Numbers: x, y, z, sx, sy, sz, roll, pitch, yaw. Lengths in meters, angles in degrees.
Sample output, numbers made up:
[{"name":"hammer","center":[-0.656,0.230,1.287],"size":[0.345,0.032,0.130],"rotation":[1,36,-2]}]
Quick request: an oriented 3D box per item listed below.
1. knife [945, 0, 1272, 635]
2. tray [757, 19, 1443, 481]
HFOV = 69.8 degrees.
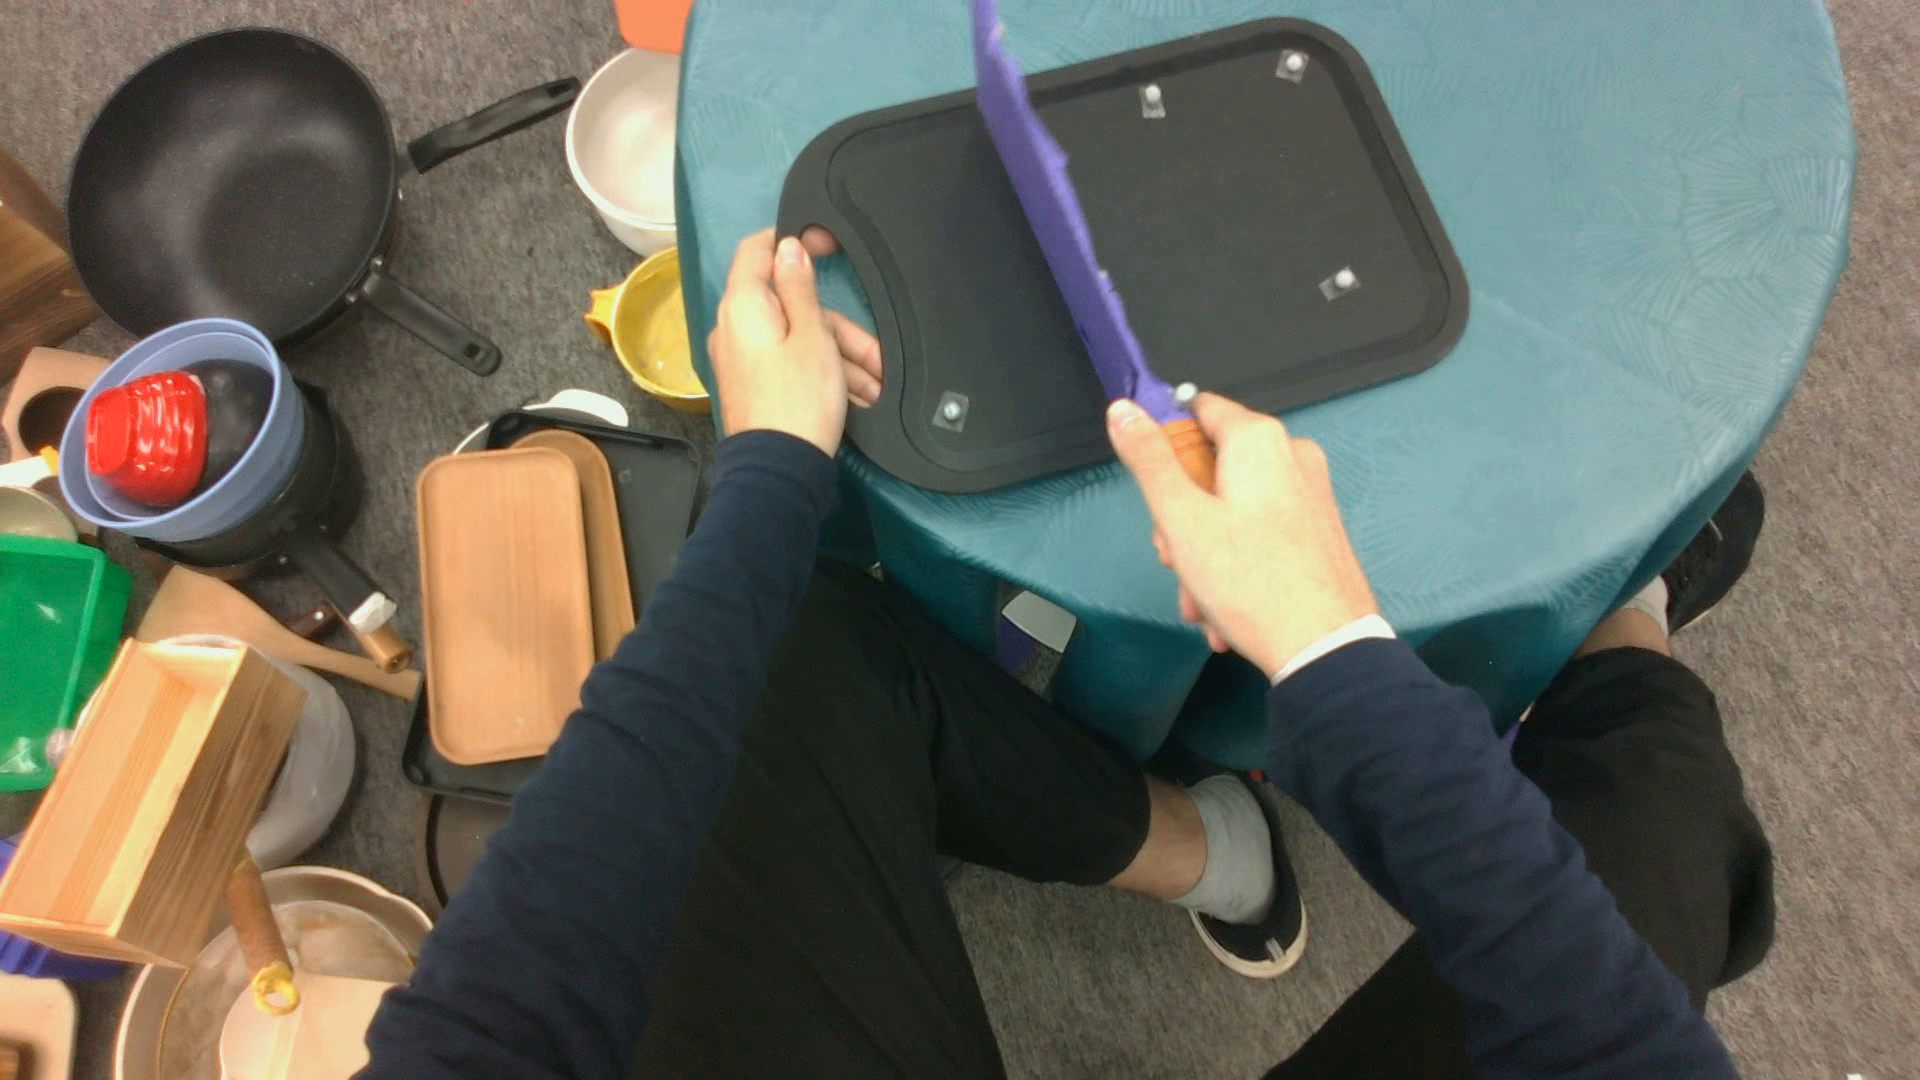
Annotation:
[{"name":"knife","center":[0.057,-0.100,0.608],"size":[0.032,0.103,0.316],"rotation":[-21,74,0]},{"name":"tray","center":[0.065,-0.148,0.676],"size":[0.326,0.010,0.211],"rotation":[-15,72,-9]}]
